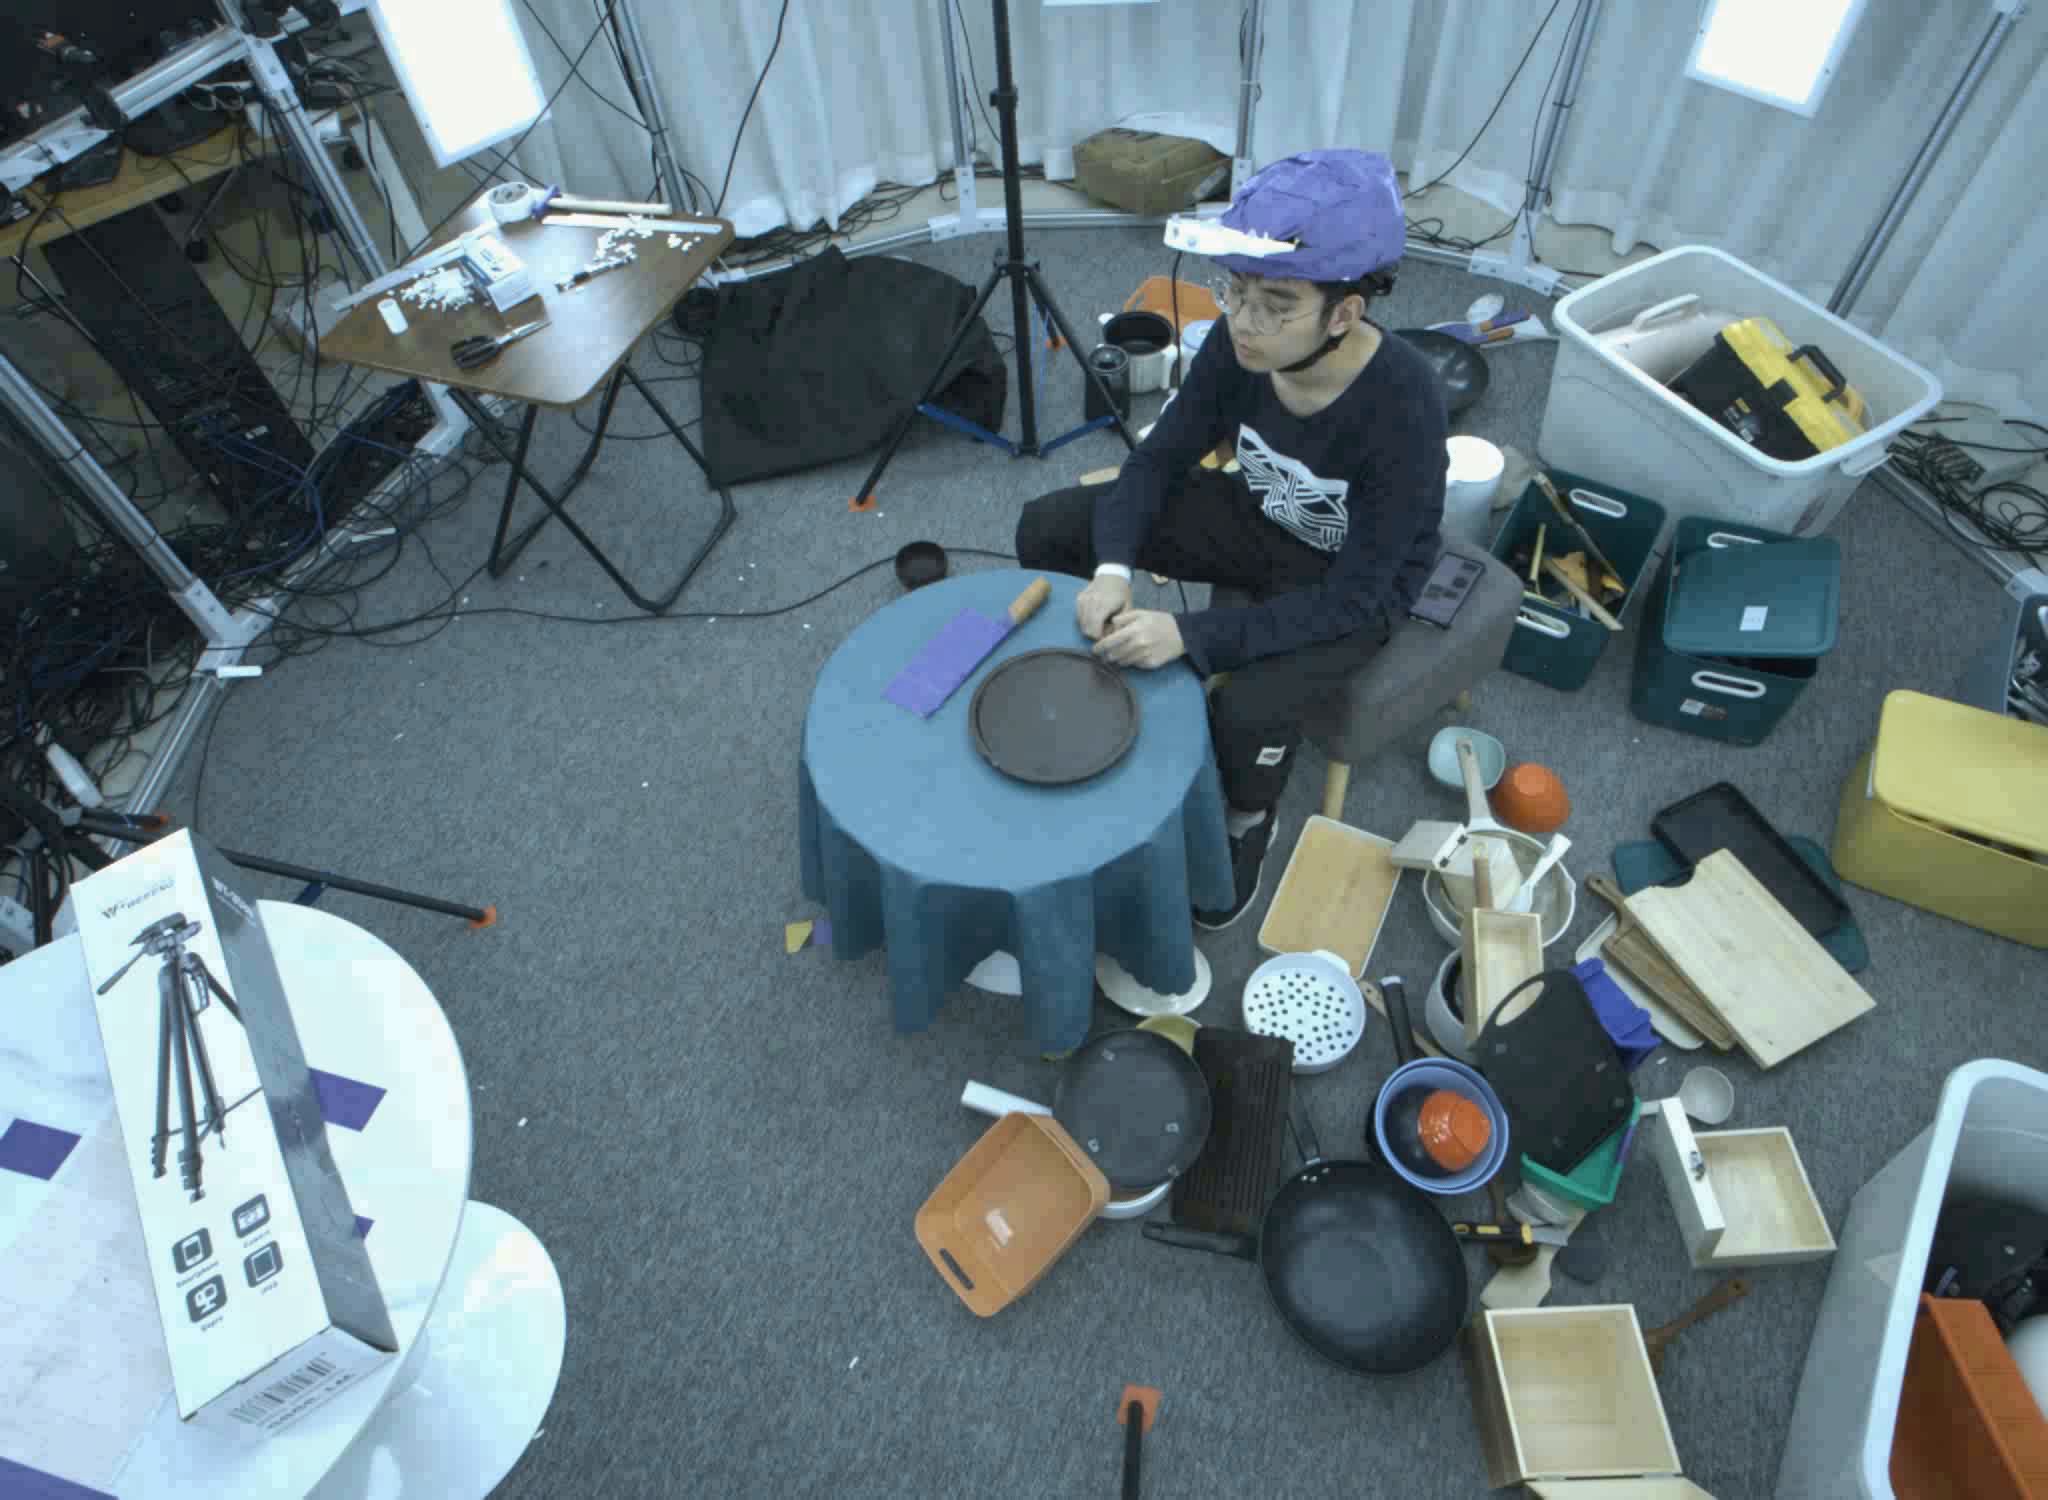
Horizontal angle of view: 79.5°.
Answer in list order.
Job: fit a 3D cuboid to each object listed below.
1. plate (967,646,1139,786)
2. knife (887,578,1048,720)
[{"bbox_3d":[0.043,-0.051,1.816,0.254,0.029,0.252,0,55,2],"label":"plate"},{"bbox_3d":[-0.088,-0.173,1.905,0.102,0.032,0.317,30,61,21],"label":"knife"}]
